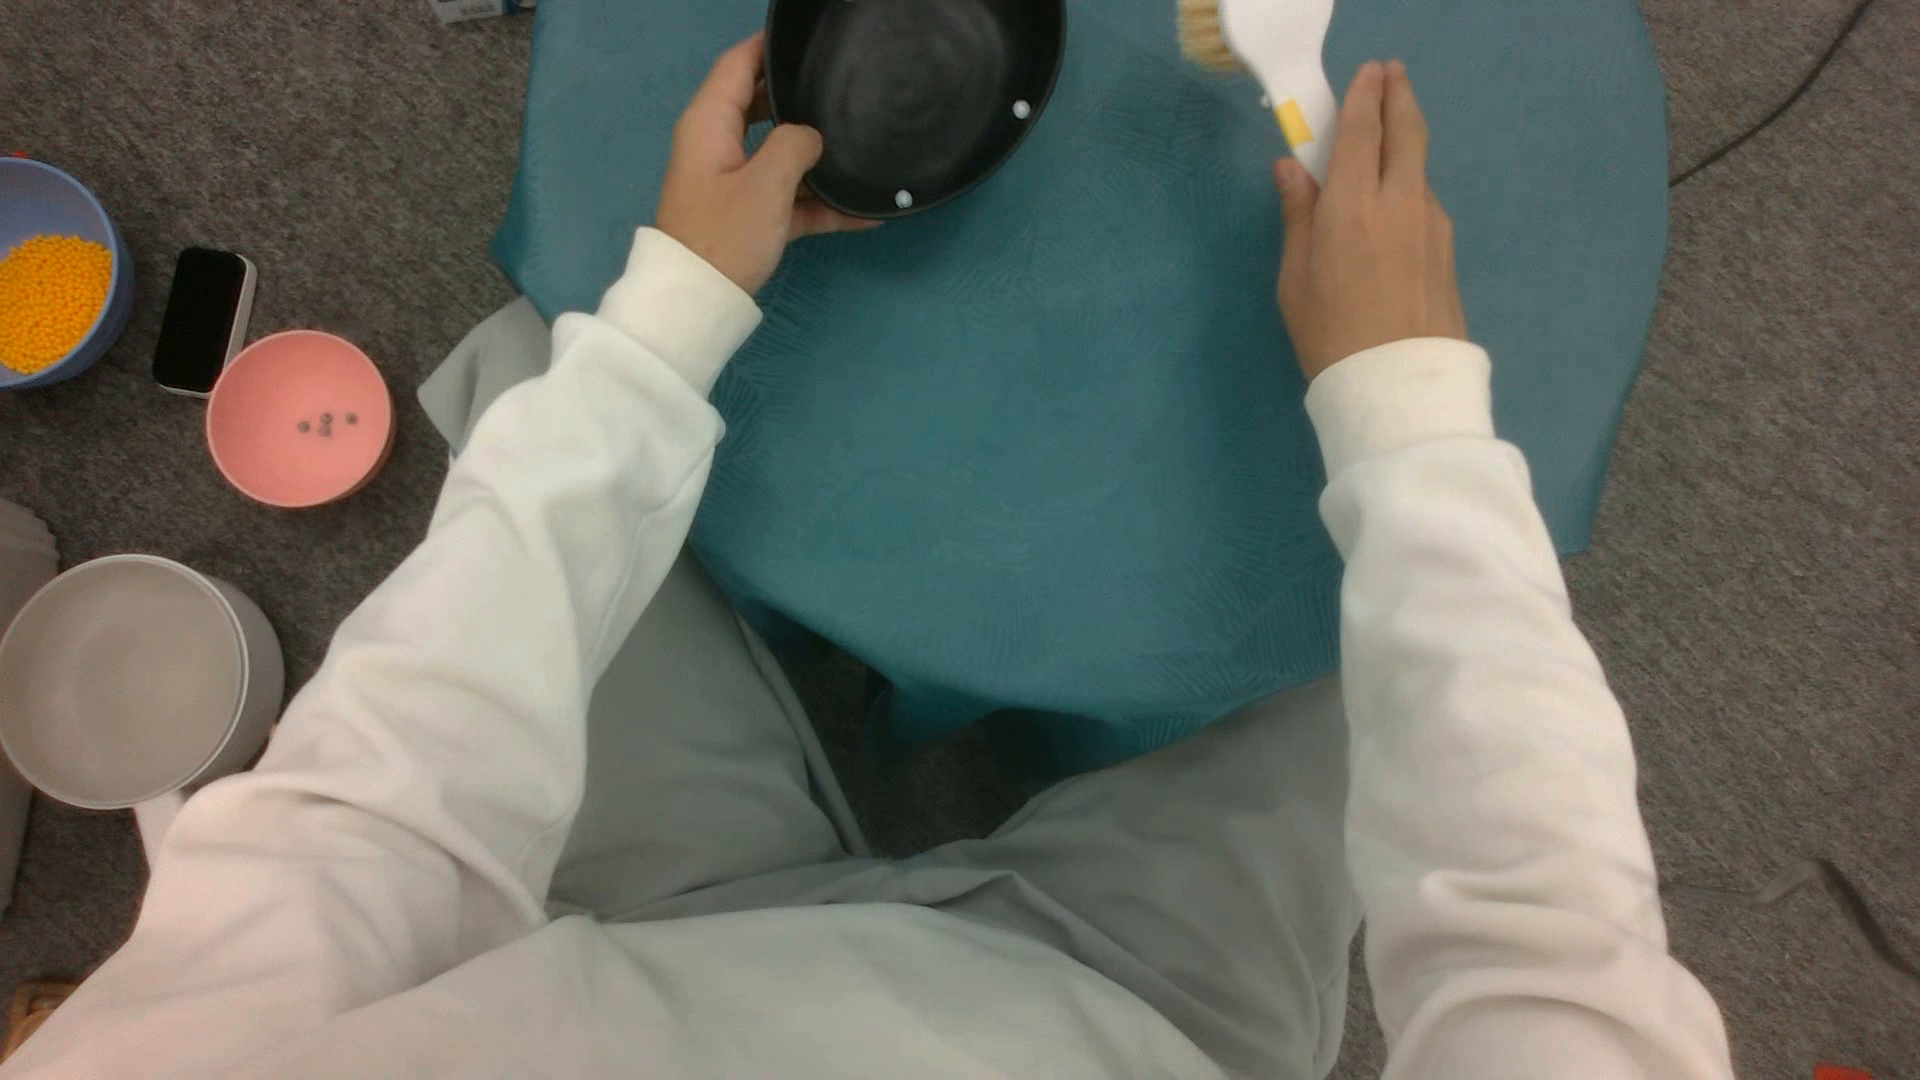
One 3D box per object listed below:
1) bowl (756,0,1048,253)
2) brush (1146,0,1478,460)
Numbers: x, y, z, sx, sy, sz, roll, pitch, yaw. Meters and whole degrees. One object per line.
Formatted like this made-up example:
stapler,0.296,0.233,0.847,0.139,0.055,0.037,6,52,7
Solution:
bowl,-0.029,-0.219,0.689,0.137,0.066,0.170,17,84,-1
brush,0.175,-0.156,0.678,0.068,0.056,0.266,-31,99,-8
